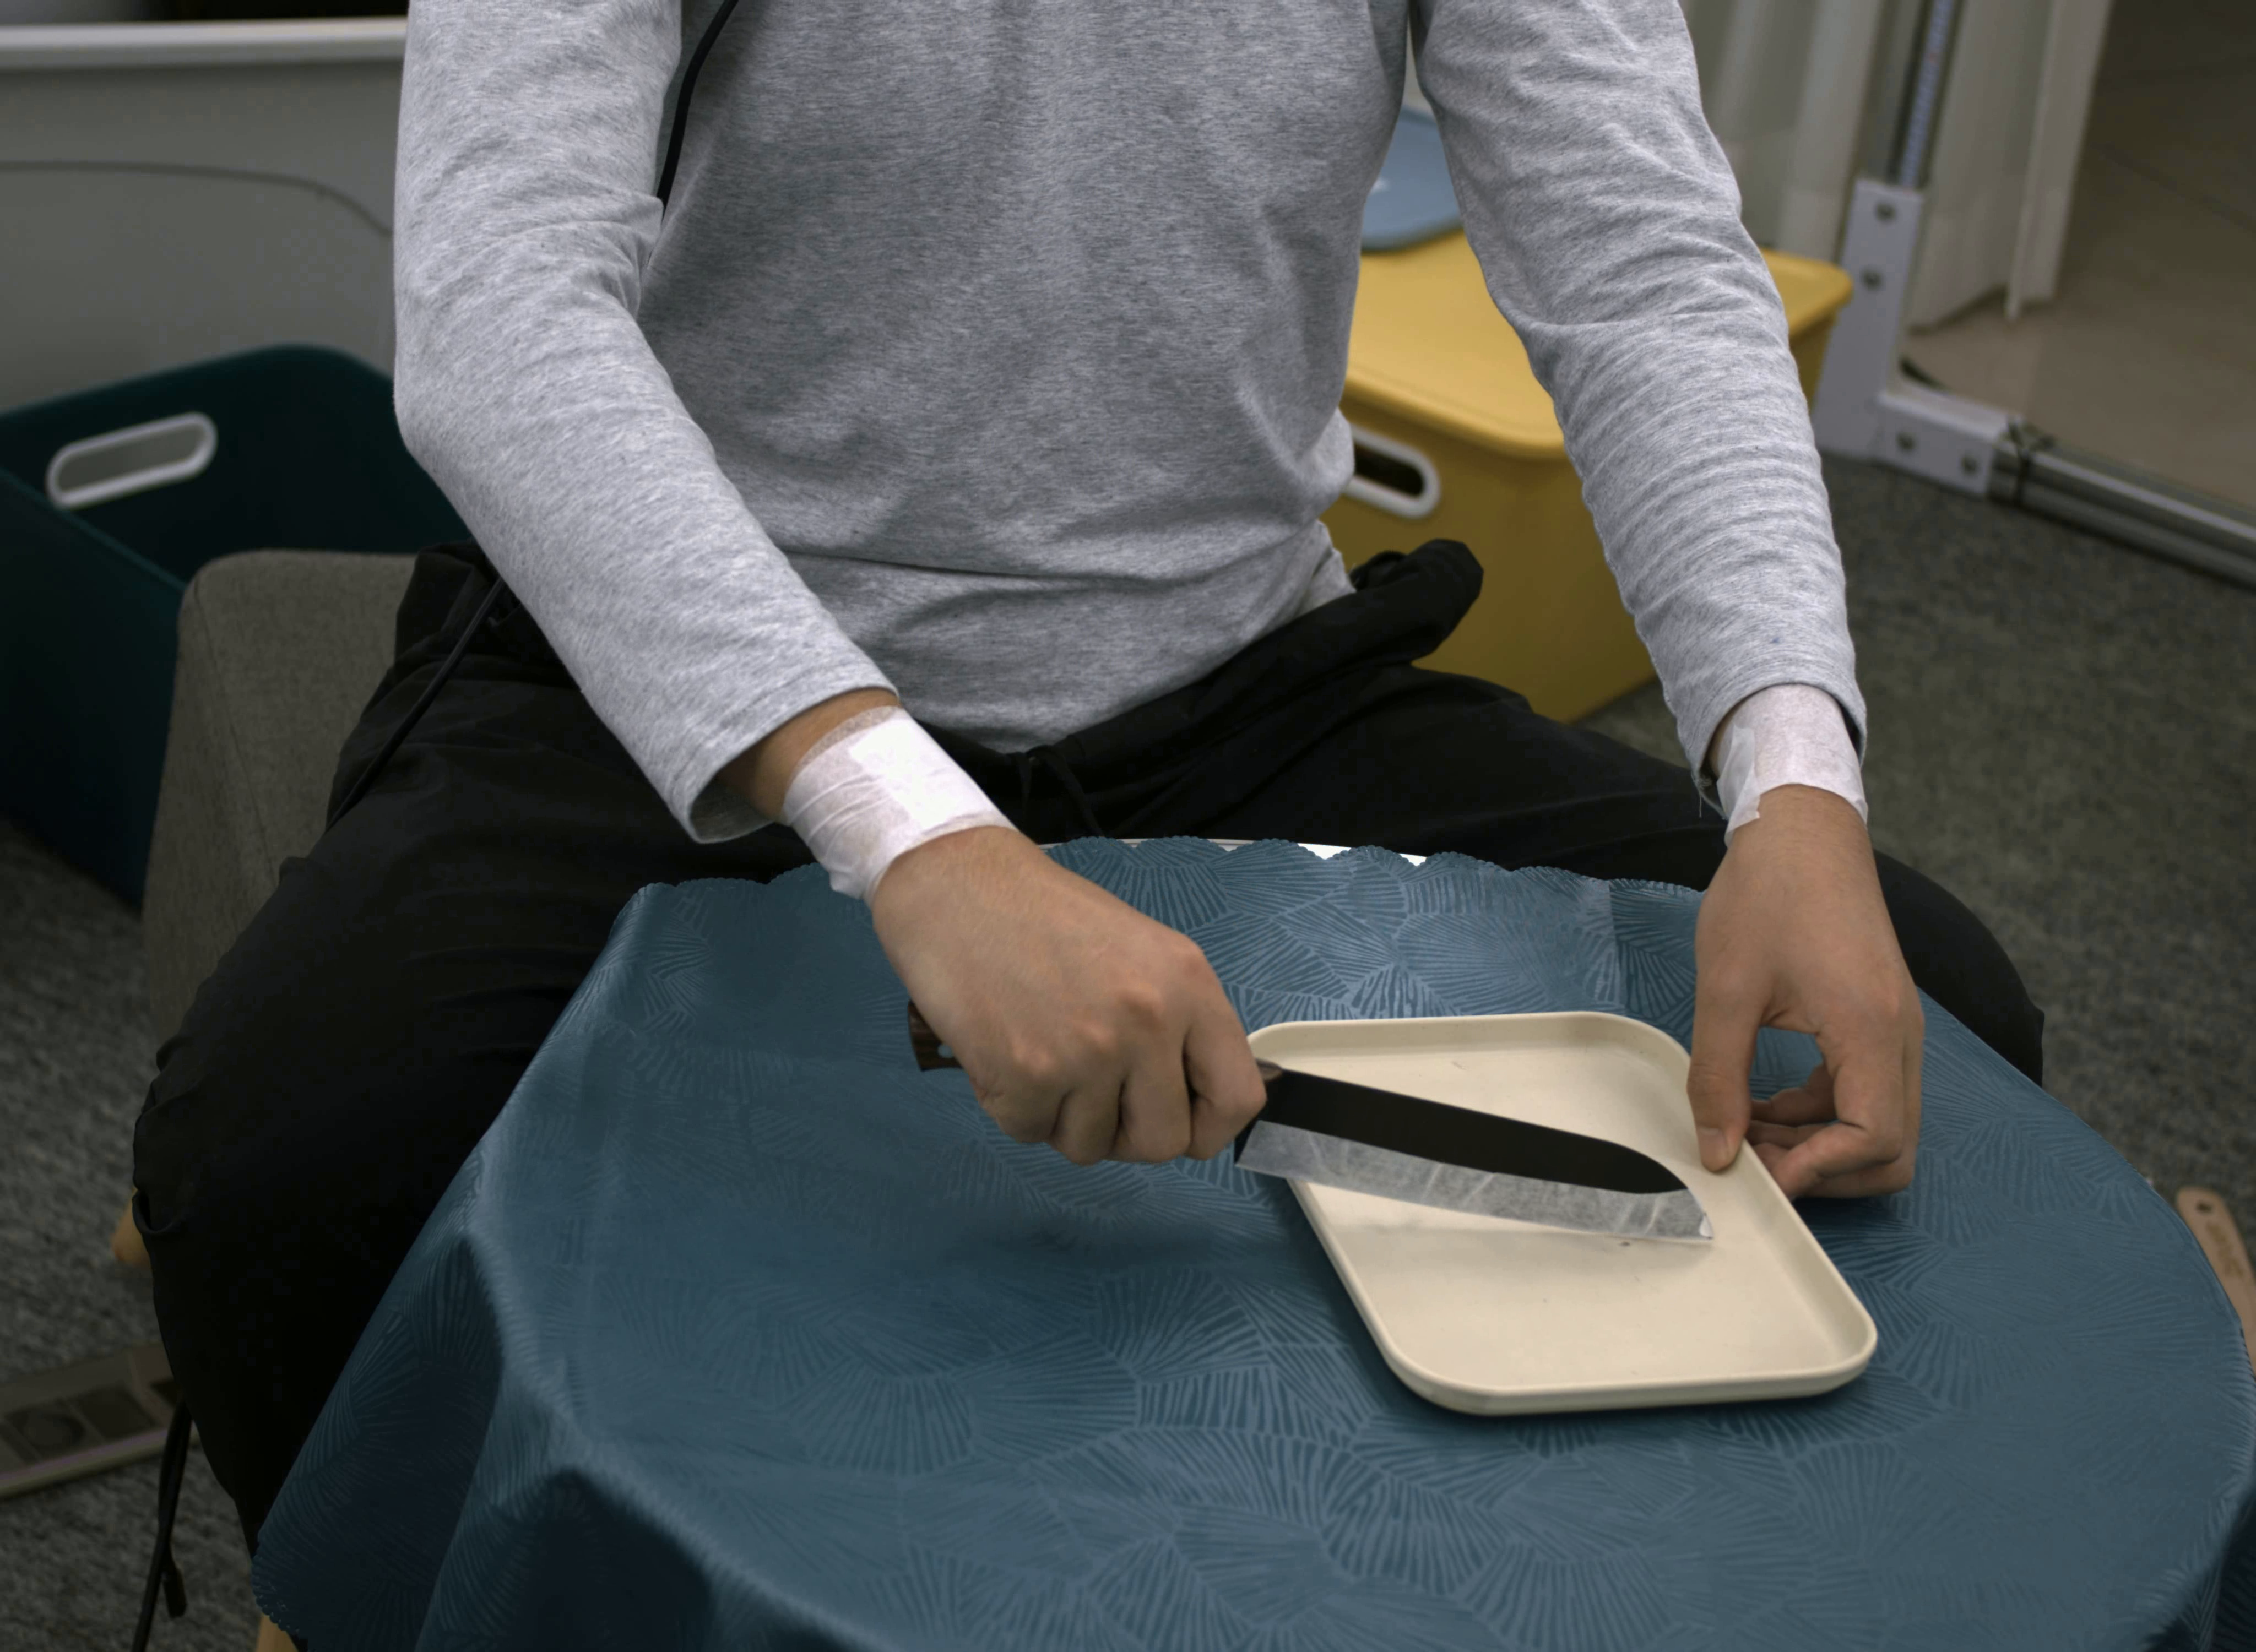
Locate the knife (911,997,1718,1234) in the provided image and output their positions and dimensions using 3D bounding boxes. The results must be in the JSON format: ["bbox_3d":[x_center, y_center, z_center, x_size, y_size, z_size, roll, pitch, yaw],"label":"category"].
[{"bbox_3d":[0.064,0.099,1.778,0.287,0.050,0.020,14,36,-10],"label":"knife"}]

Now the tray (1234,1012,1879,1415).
[{"bbox_3d":[0.141,0.130,1.806,0.170,0.017,0.241,-1,27,-15],"label":"tray"}]
